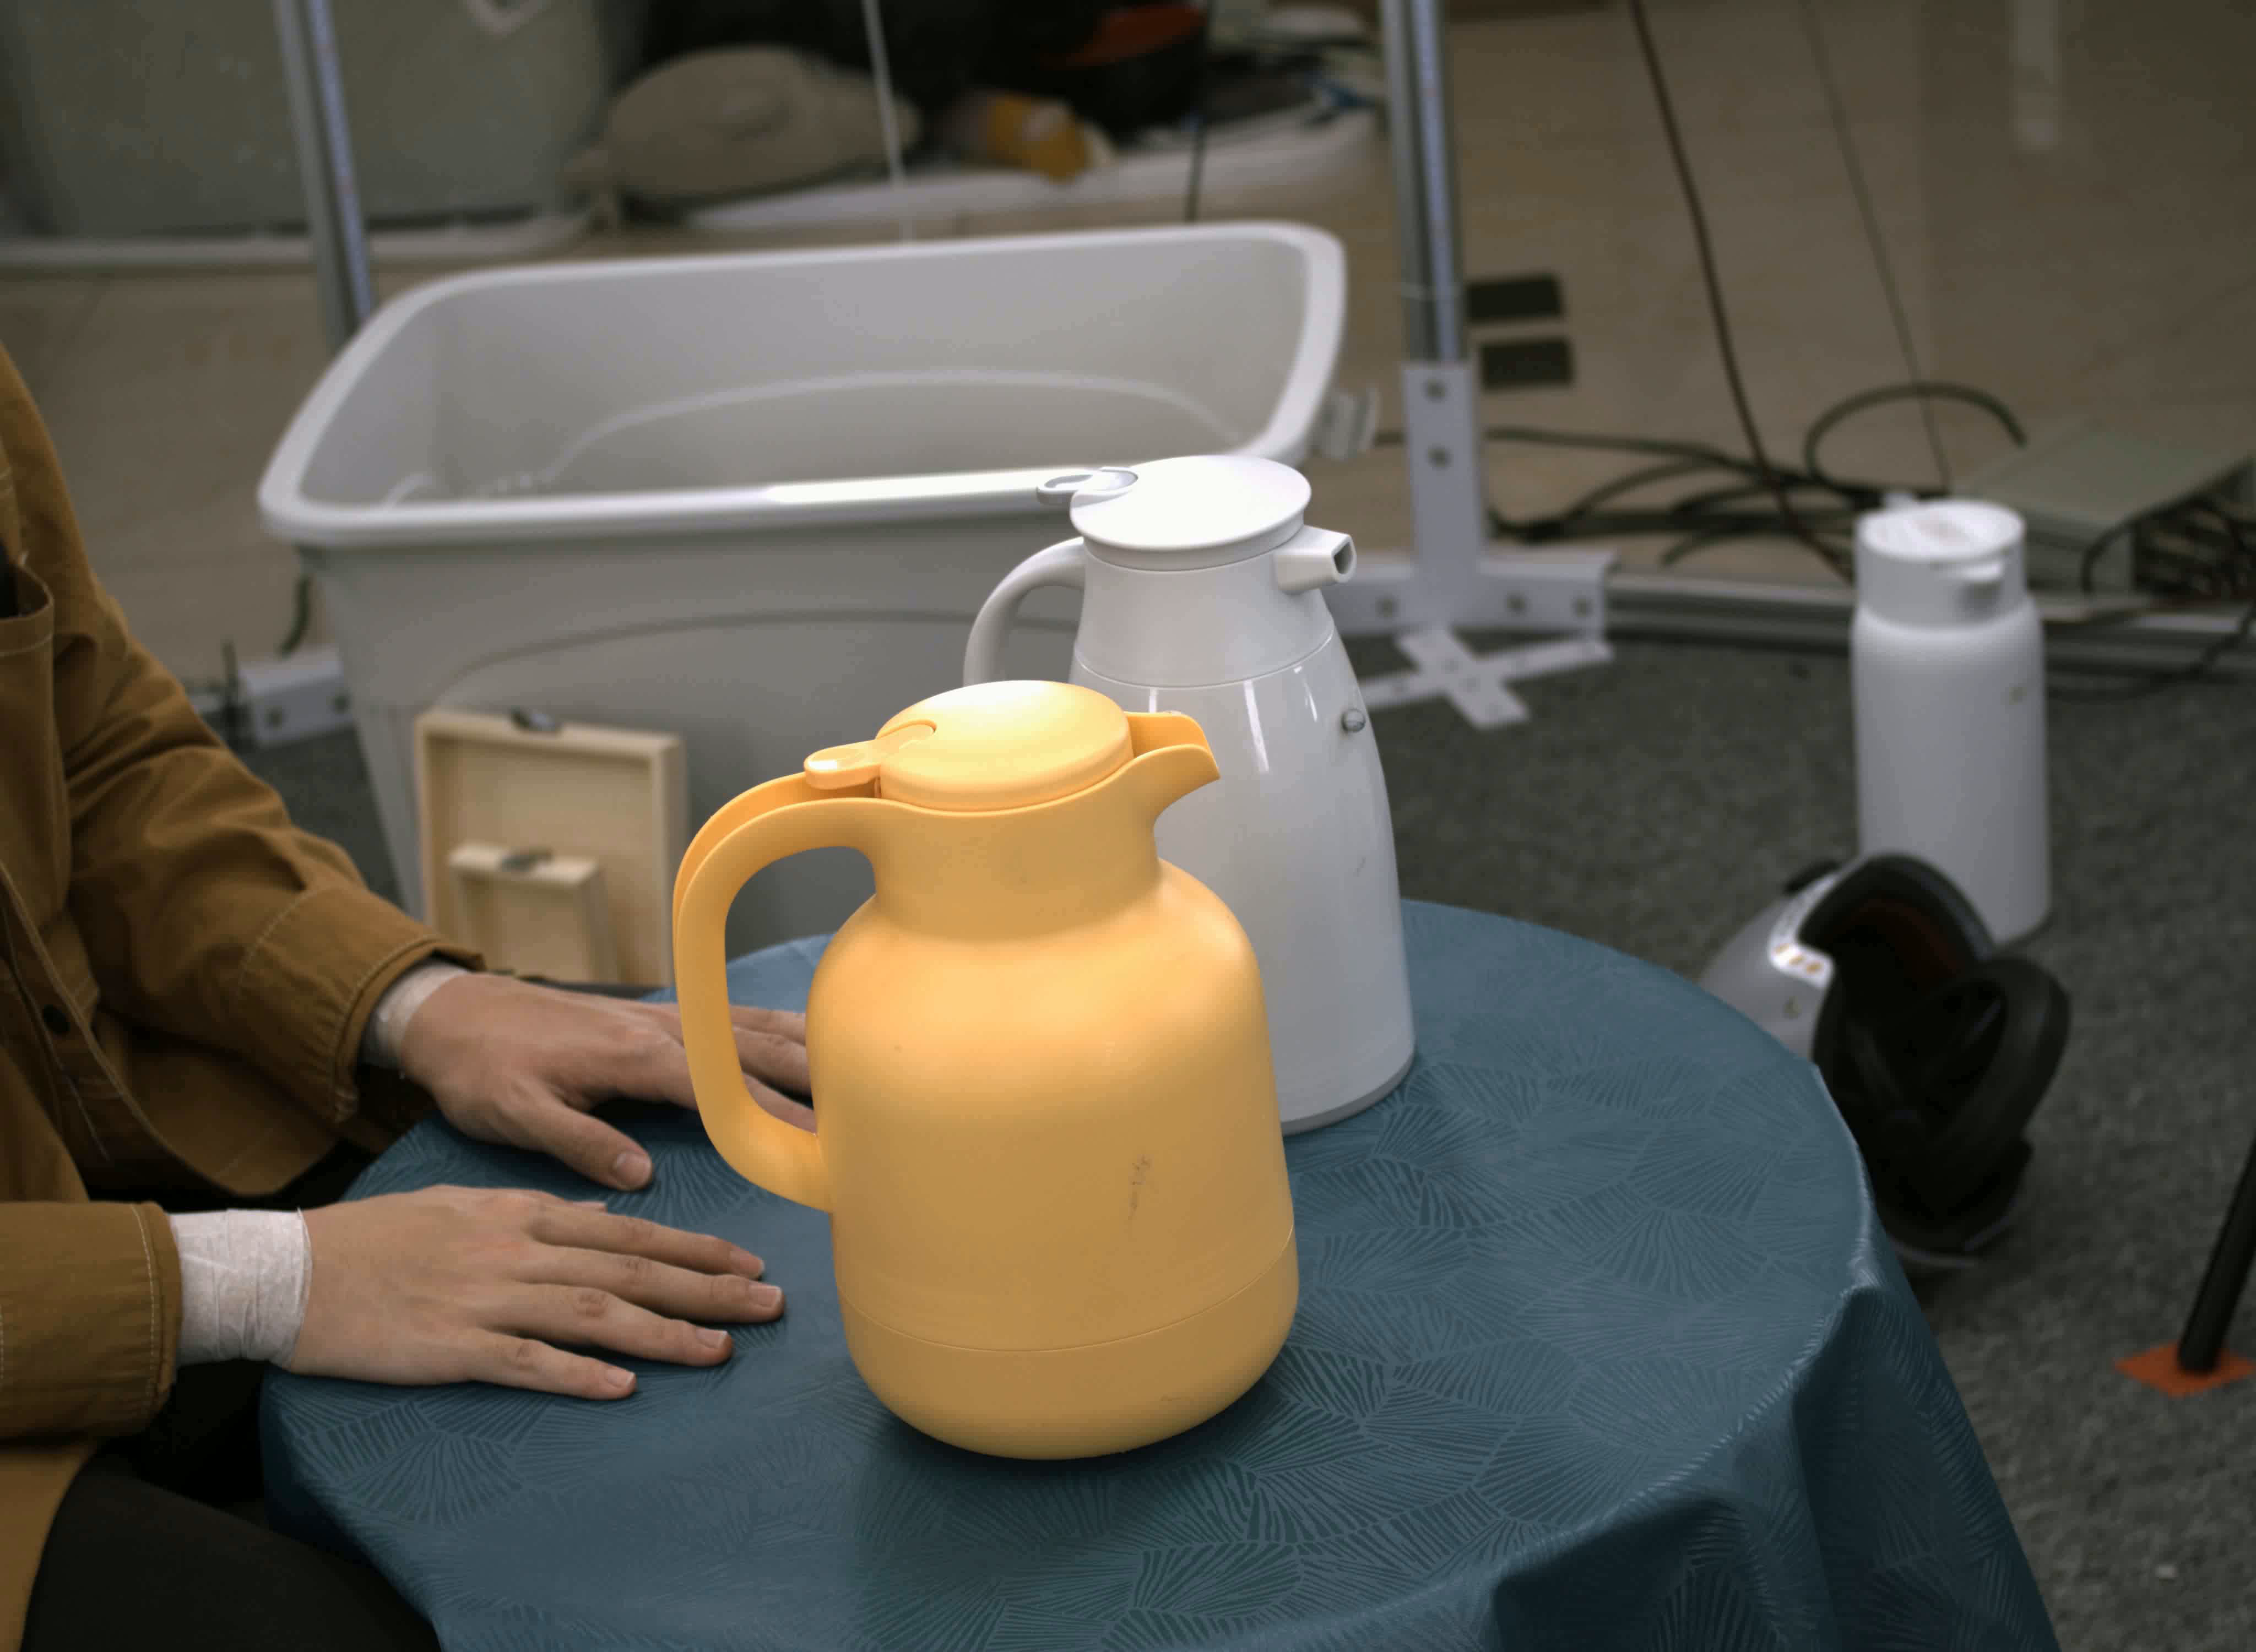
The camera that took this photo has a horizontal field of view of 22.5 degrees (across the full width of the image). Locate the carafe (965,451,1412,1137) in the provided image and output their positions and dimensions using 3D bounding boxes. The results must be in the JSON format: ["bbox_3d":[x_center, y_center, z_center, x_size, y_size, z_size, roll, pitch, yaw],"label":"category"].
[{"bbox_3d":[0.018,-0.020,2.186,0.167,0.252,0.131,6,28,25],"label":"carafe"}]

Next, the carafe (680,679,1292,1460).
[{"bbox_3d":[-0.050,0.082,1.973,0.202,0.264,0.161,-7,24,-3],"label":"carafe"}]
